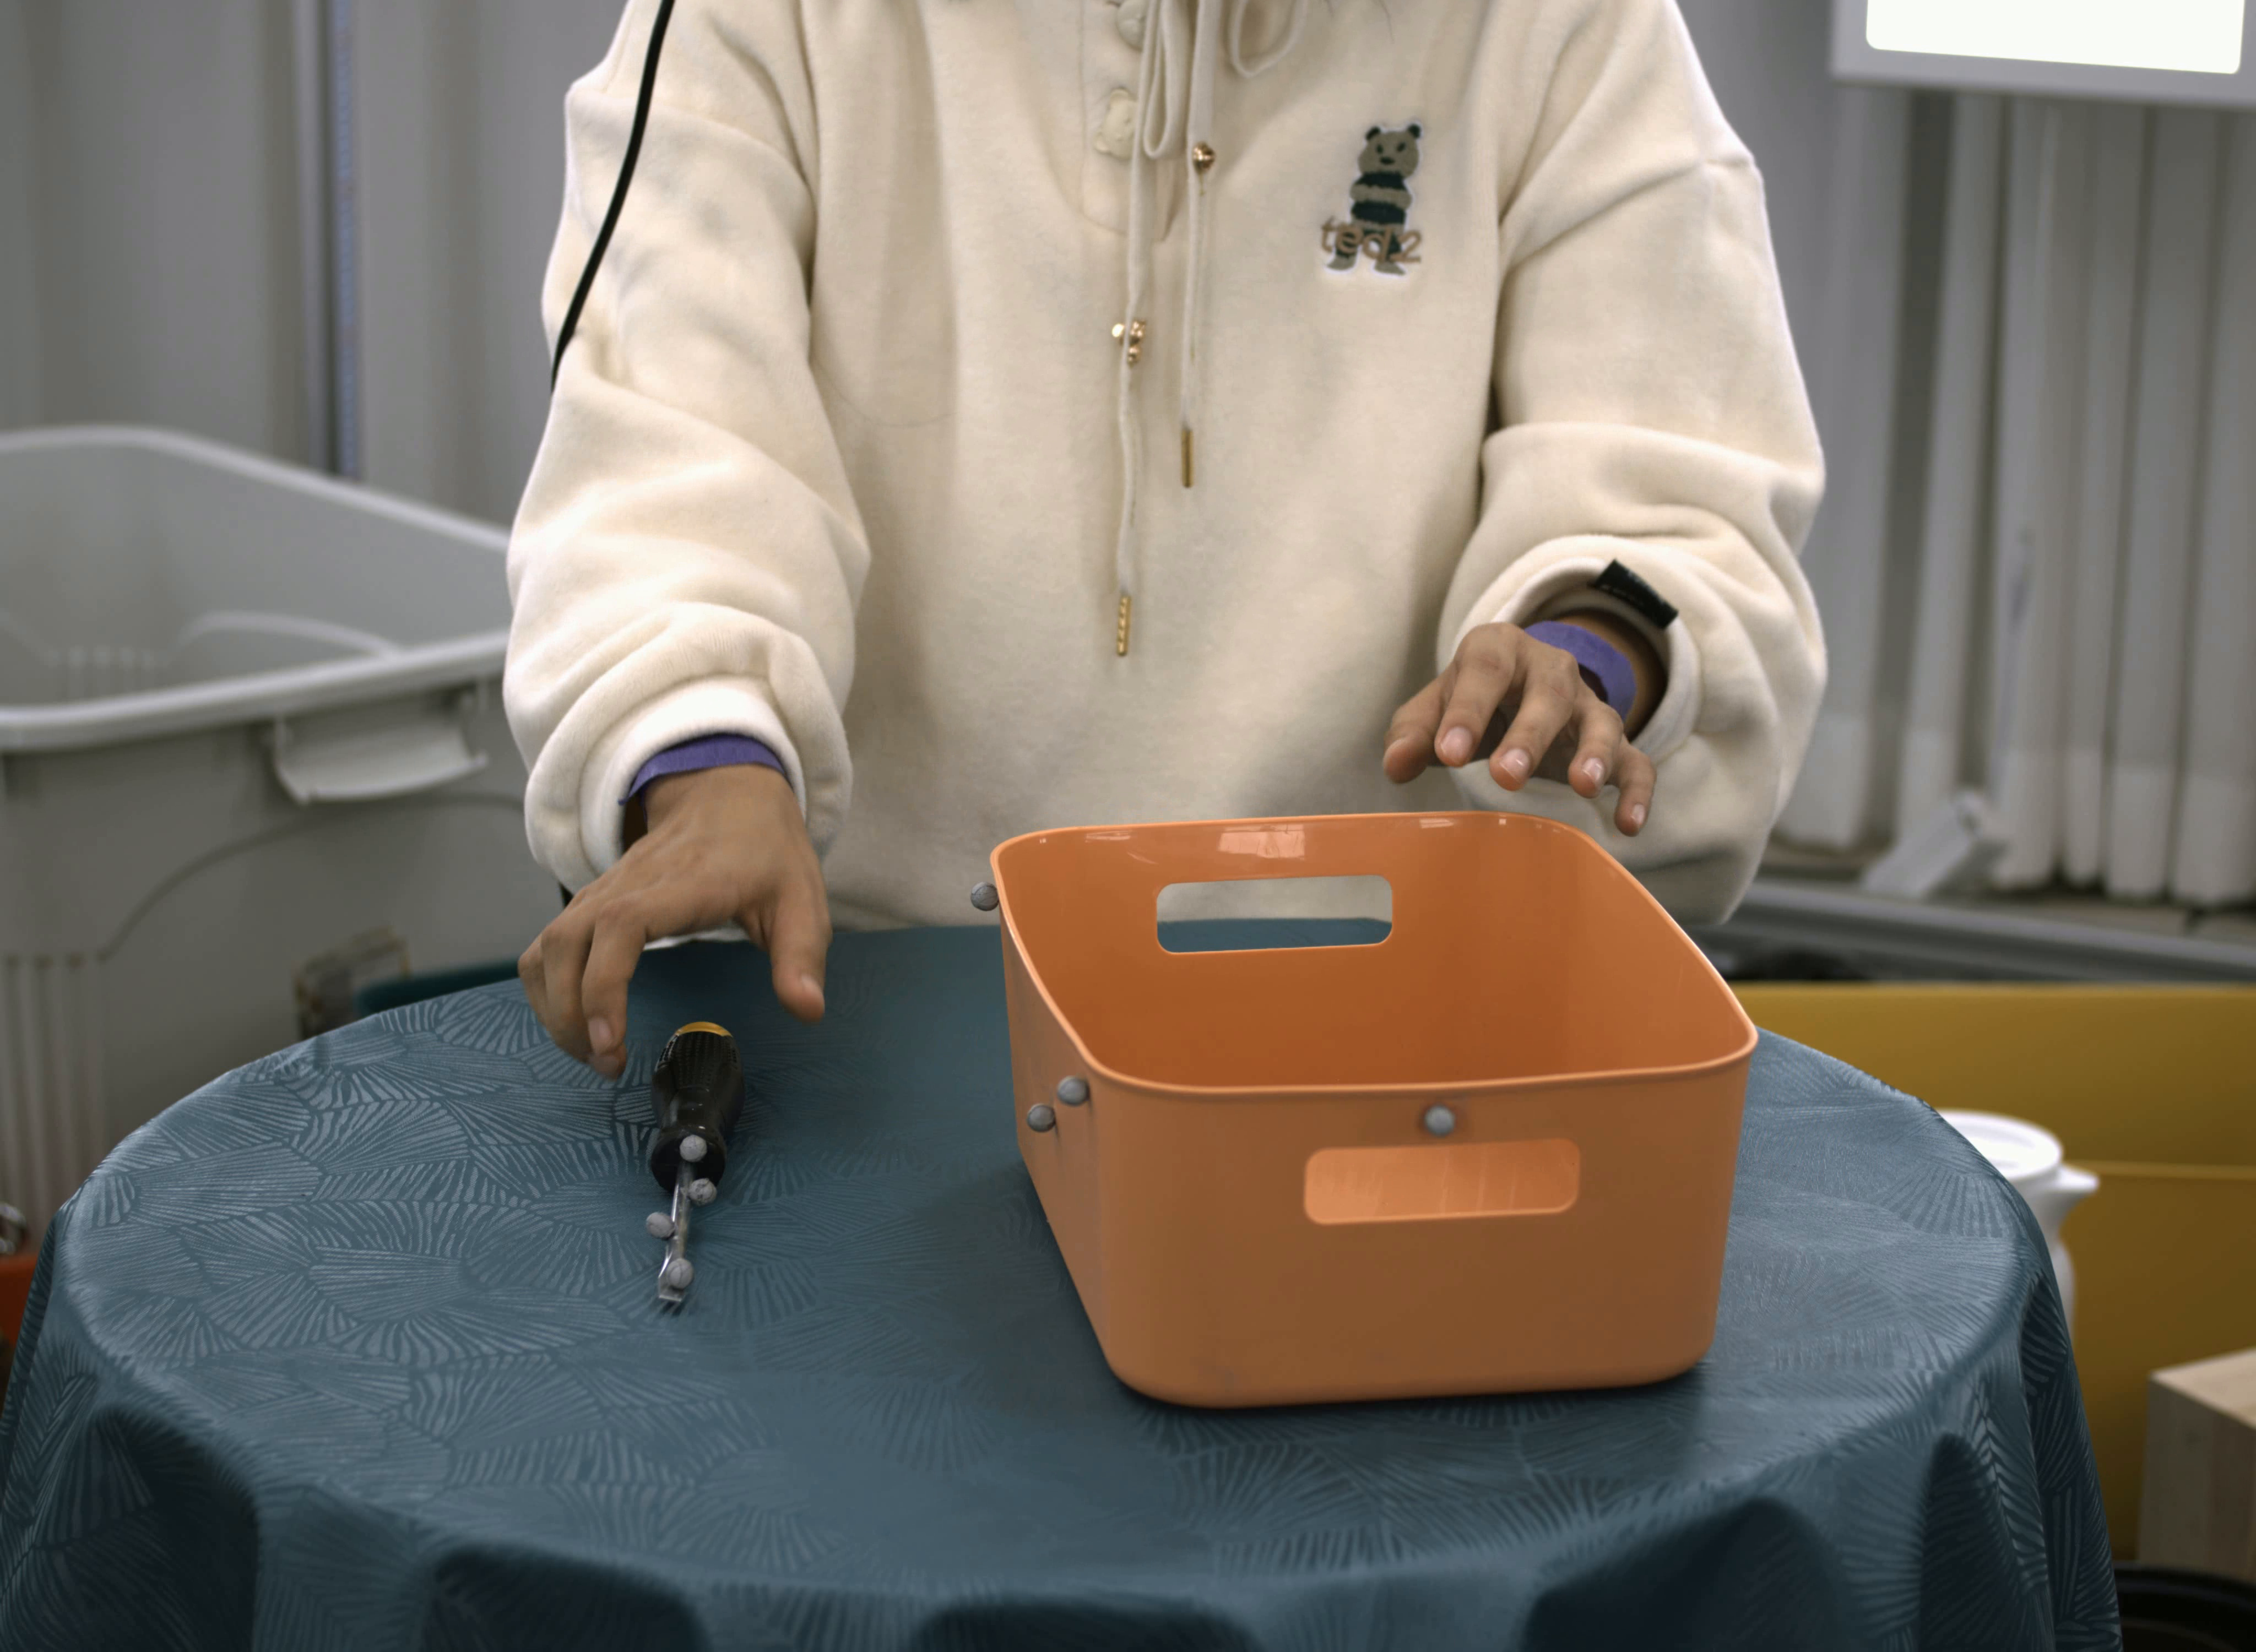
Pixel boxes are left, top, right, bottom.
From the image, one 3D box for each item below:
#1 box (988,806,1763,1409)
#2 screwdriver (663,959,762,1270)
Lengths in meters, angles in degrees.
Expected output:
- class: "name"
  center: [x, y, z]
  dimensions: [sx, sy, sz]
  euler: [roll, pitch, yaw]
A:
- class: "box"
  center: [0.067, 0.079, 1.547]
  dimensions: [0.199, 0.103, 0.271]
  euler: [-3, 16, -9]
- class: "screwdriver"
  center: [-0.126, 0.090, 1.611]
  dimensions: [0.031, 0.032, 0.196]
  euler: [-1, 24, -5]
